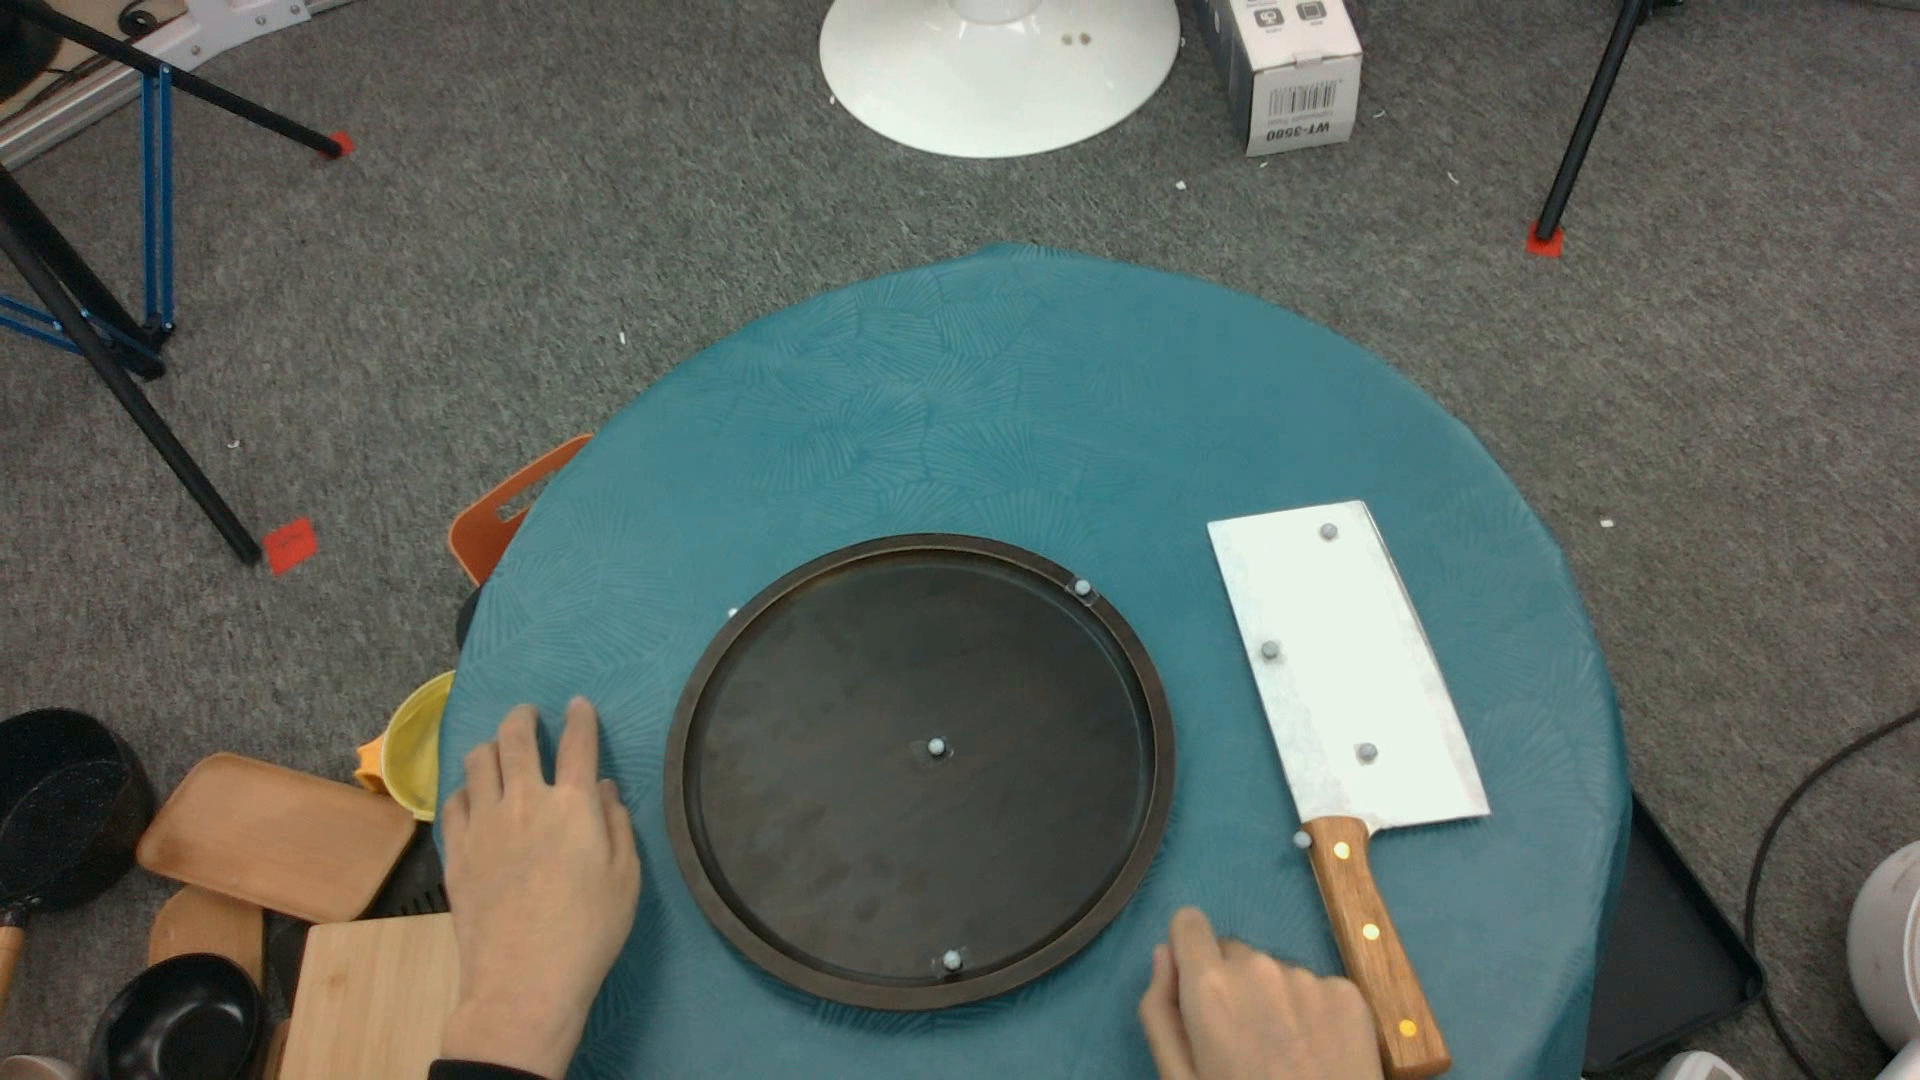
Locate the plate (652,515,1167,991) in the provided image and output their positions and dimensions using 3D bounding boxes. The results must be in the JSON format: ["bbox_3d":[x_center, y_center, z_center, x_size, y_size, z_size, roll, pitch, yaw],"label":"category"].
[{"bbox_3d":[-0.025,0.097,0.682,0.255,0.029,0.256,-1,55,1],"label":"plate"}]

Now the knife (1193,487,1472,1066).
[{"bbox_3d":[0.195,0.095,0.675,0.093,0.021,0.307,-9,54,-4],"label":"knife"}]
